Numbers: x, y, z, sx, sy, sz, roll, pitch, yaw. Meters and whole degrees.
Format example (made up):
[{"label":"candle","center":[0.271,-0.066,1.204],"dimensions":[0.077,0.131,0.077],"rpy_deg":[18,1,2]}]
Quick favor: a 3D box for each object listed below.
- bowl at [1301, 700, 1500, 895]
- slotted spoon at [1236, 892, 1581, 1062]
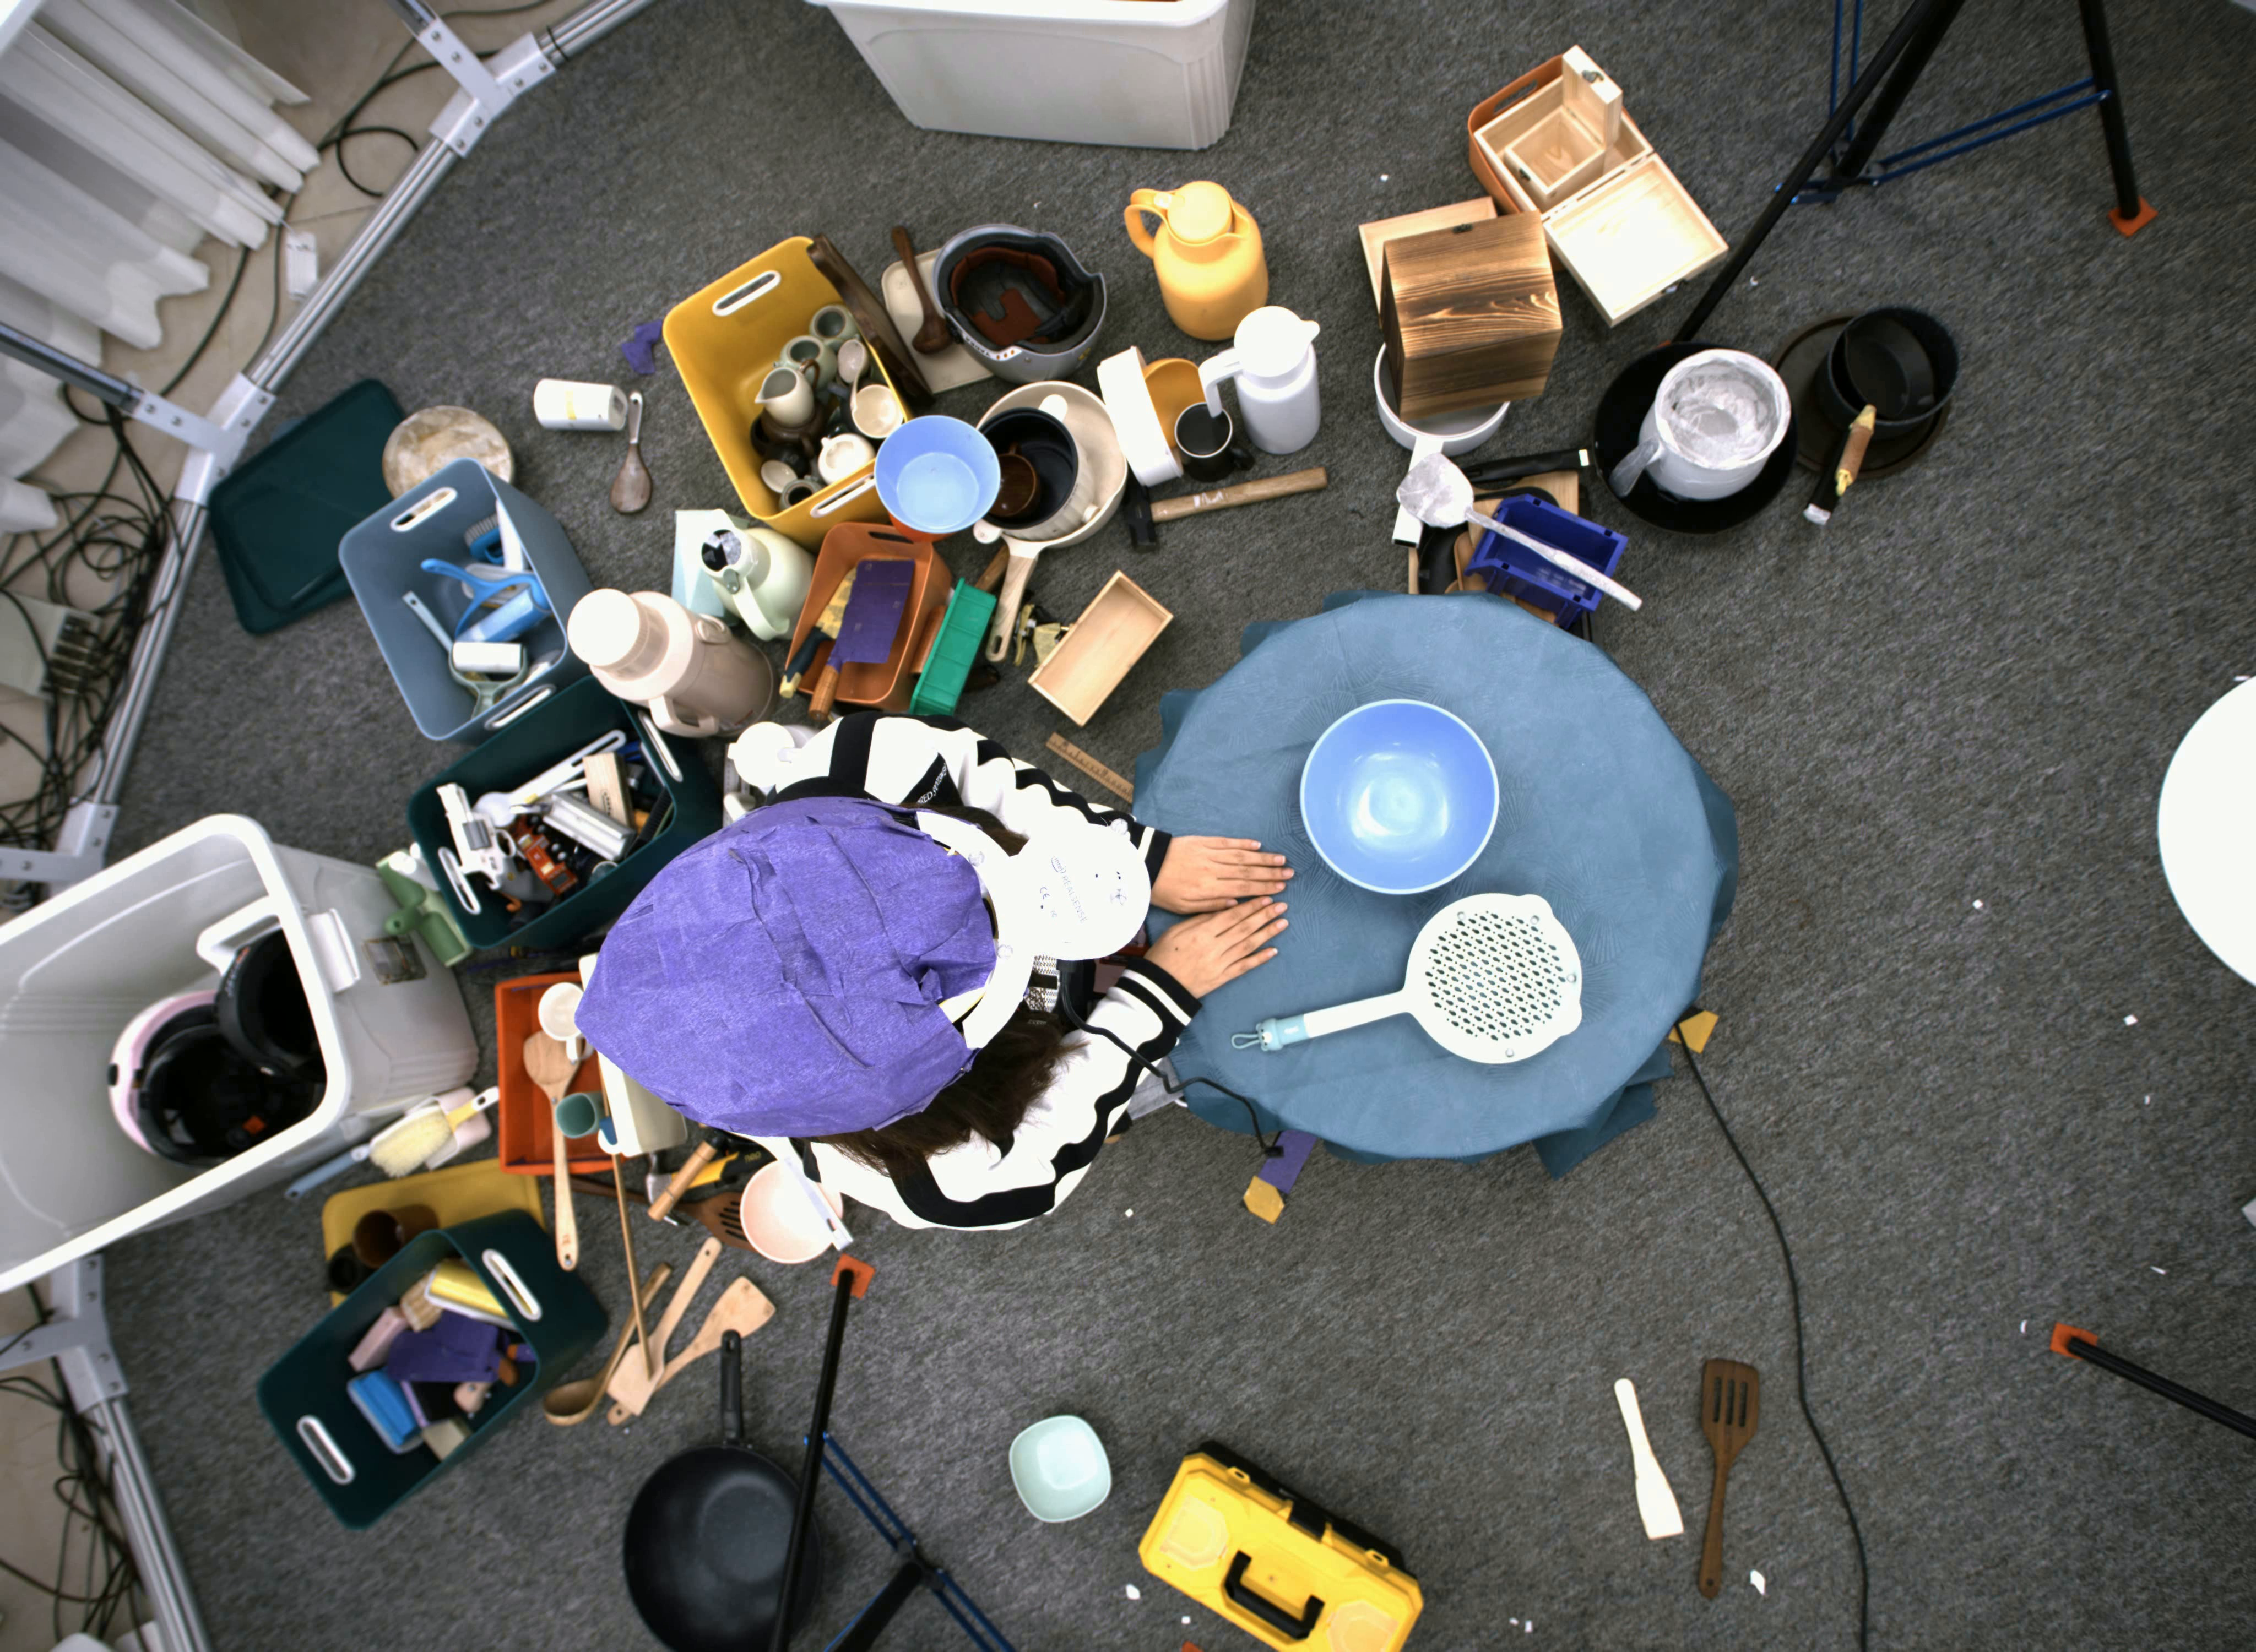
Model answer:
[{"label":"bowl","center":[0.278,-0.026,1.417],"dimensions":[0.197,0.095,0.196],"rpy_deg":[-1,87,11]},{"label":"slotted spoon","center":[0.281,0.178,1.423],"dimensions":[0.361,0.075,0.168],"rpy_deg":[-16,82,11]}]
